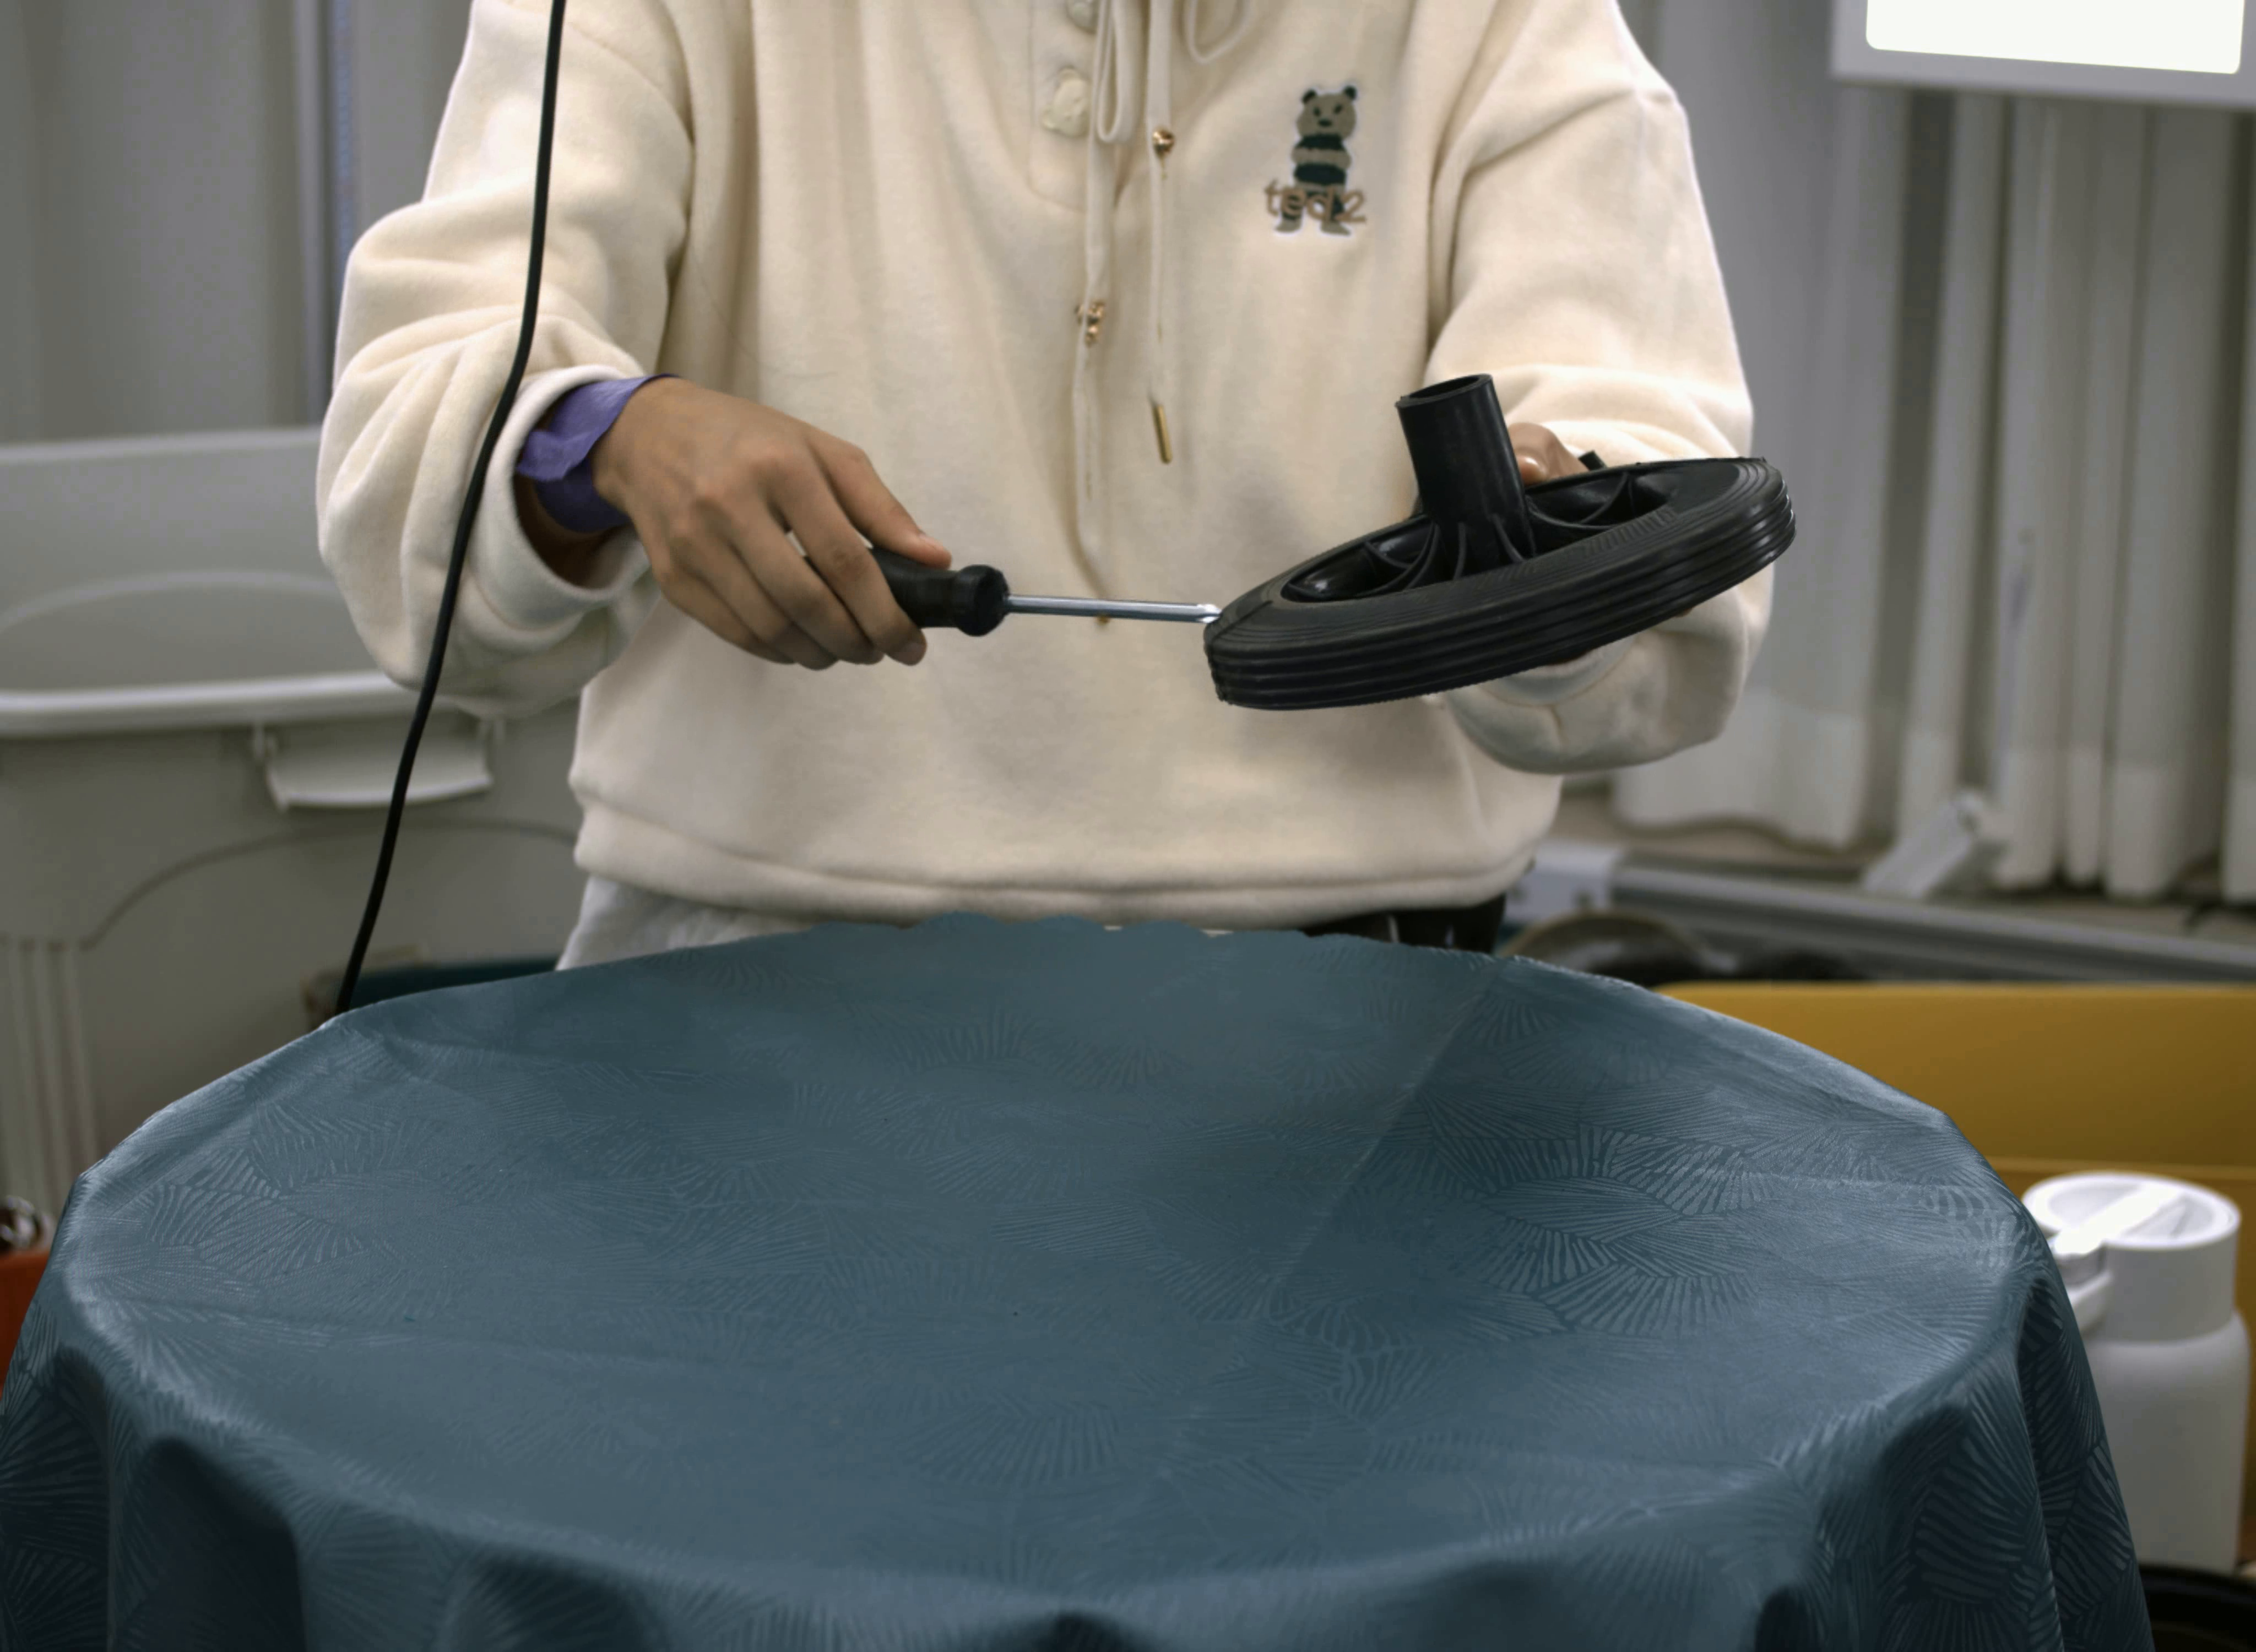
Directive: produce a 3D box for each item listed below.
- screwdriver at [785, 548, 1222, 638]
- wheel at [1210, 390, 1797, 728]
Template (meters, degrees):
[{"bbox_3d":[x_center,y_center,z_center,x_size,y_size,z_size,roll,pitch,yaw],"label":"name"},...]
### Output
[{"bbox_3d":[-0.041,-0.077,1.706,0.194,0.031,0.031,1,12,44],"label":"screwdriver"},{"bbox_3d":[0.109,-0.092,1.628,0.186,0.080,0.190,-12,14,26],"label":"wheel"}]
